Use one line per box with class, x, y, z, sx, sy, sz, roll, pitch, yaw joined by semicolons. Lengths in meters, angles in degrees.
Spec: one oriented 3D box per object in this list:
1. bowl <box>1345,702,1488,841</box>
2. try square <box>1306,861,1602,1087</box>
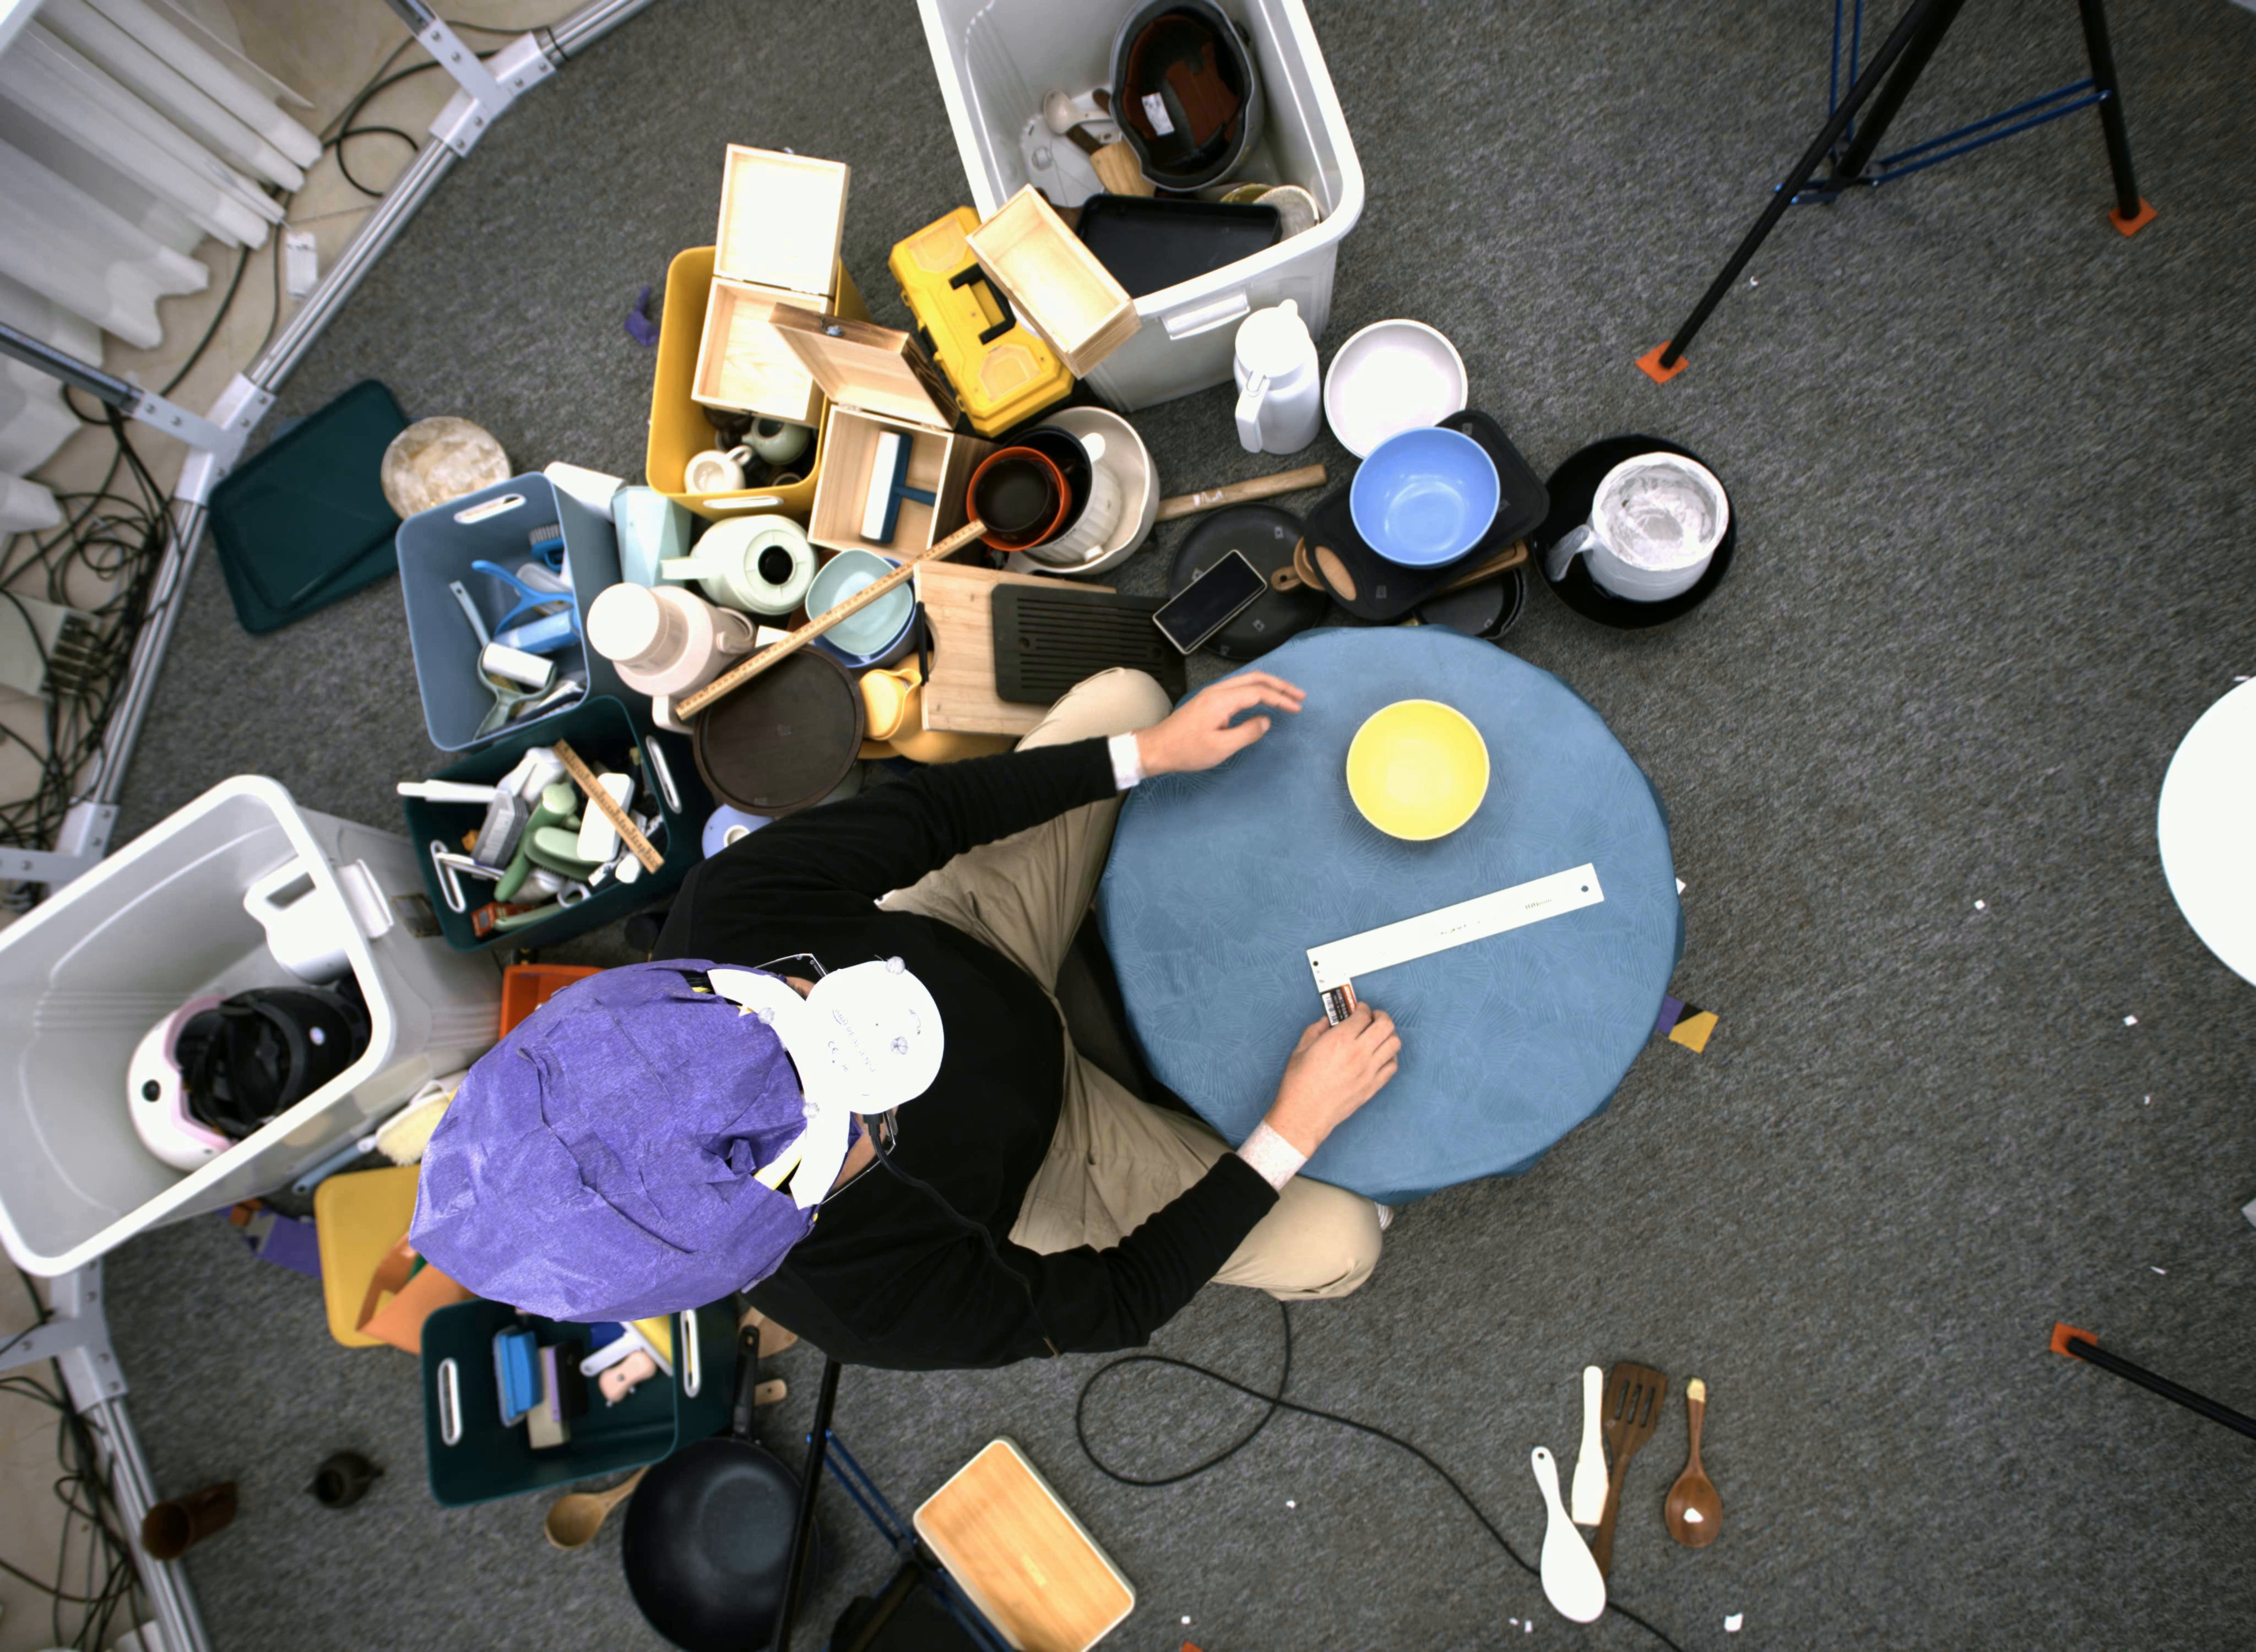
bowl;0.301;-0.054;1.434;0.146;0.060;0.144;-2;84;13
try square;0.354;0.153;1.439;0.314;0.016;0.152;-18;87;8
